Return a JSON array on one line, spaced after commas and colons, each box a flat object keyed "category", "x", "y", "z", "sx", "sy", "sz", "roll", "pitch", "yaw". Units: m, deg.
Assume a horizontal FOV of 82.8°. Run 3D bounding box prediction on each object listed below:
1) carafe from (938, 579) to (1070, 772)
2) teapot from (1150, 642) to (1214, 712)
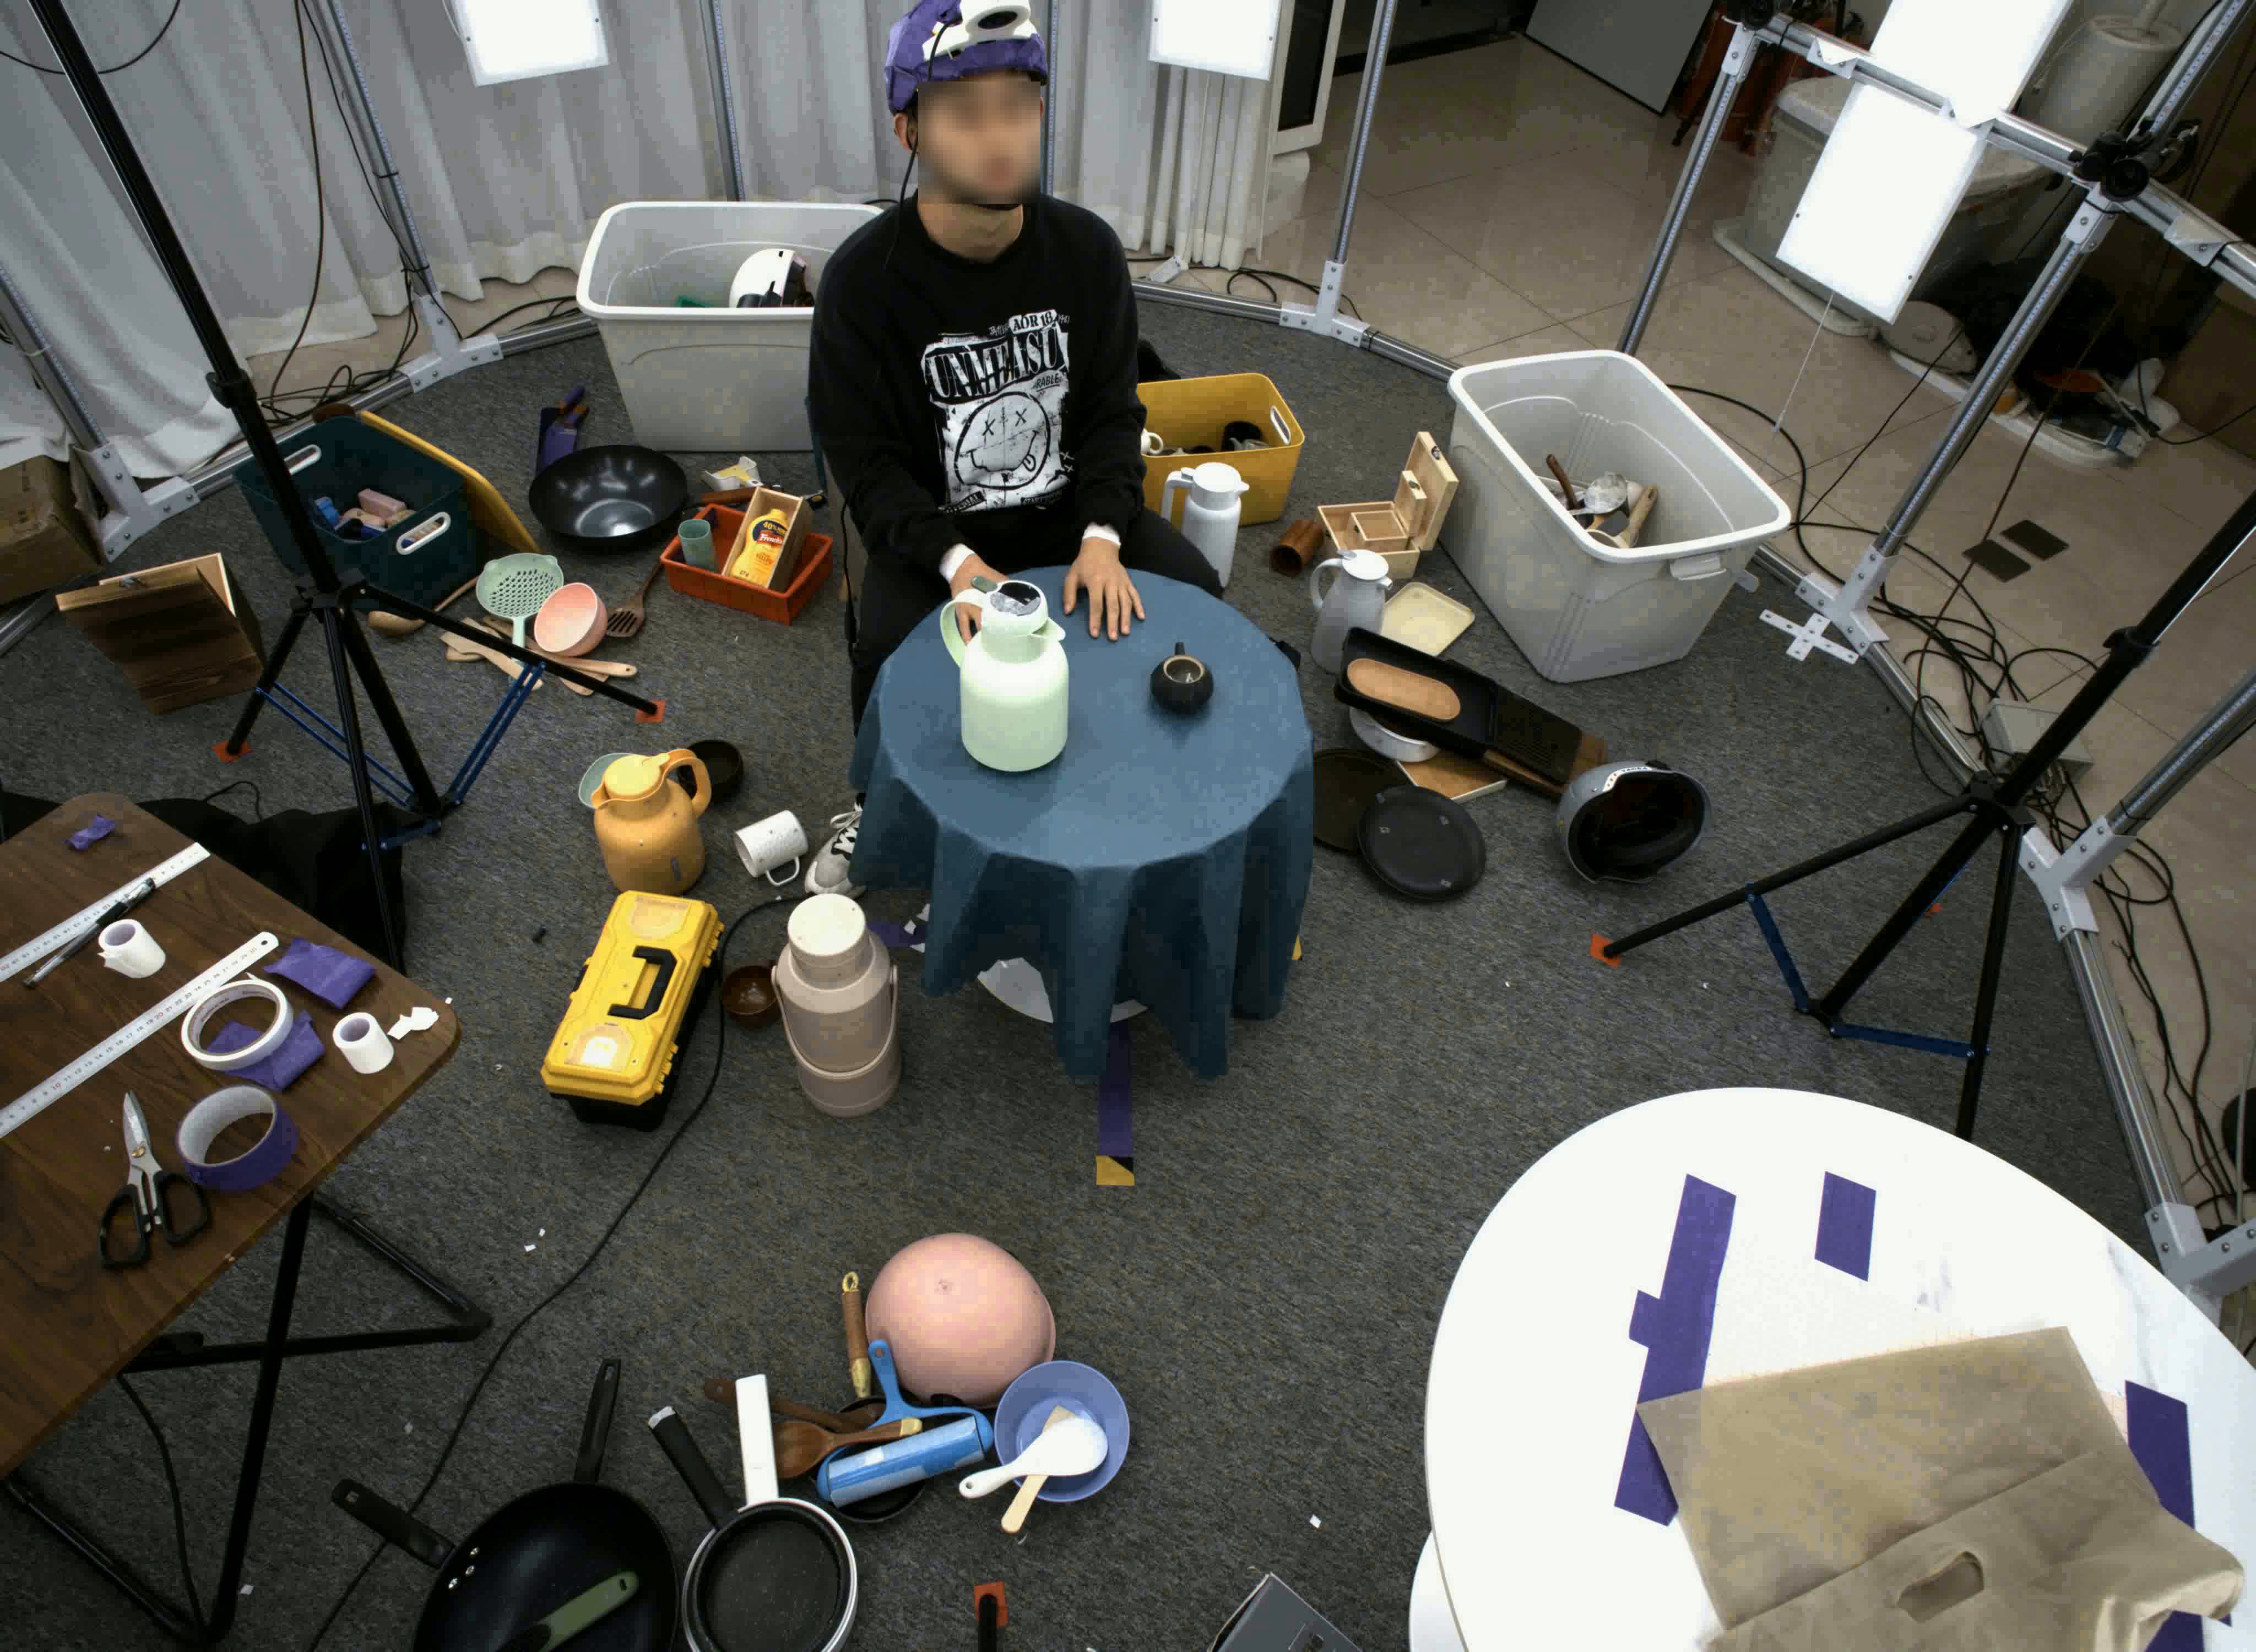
[{"category": "carafe", "x": -0.160, "y": -0.205, "z": 1.677, "sx": 0.188, "sy": 0.250, "sz": 0.146, "roll": 25, "pitch": 53, "yaw": 21}, {"category": "teapot", "x": 0.077, "y": -0.204, "z": 1.816, "sx": 0.091, "sy": 0.052, "sz": 0.136, "roll": 1, "pitch": 50, "yaw": -5}]
